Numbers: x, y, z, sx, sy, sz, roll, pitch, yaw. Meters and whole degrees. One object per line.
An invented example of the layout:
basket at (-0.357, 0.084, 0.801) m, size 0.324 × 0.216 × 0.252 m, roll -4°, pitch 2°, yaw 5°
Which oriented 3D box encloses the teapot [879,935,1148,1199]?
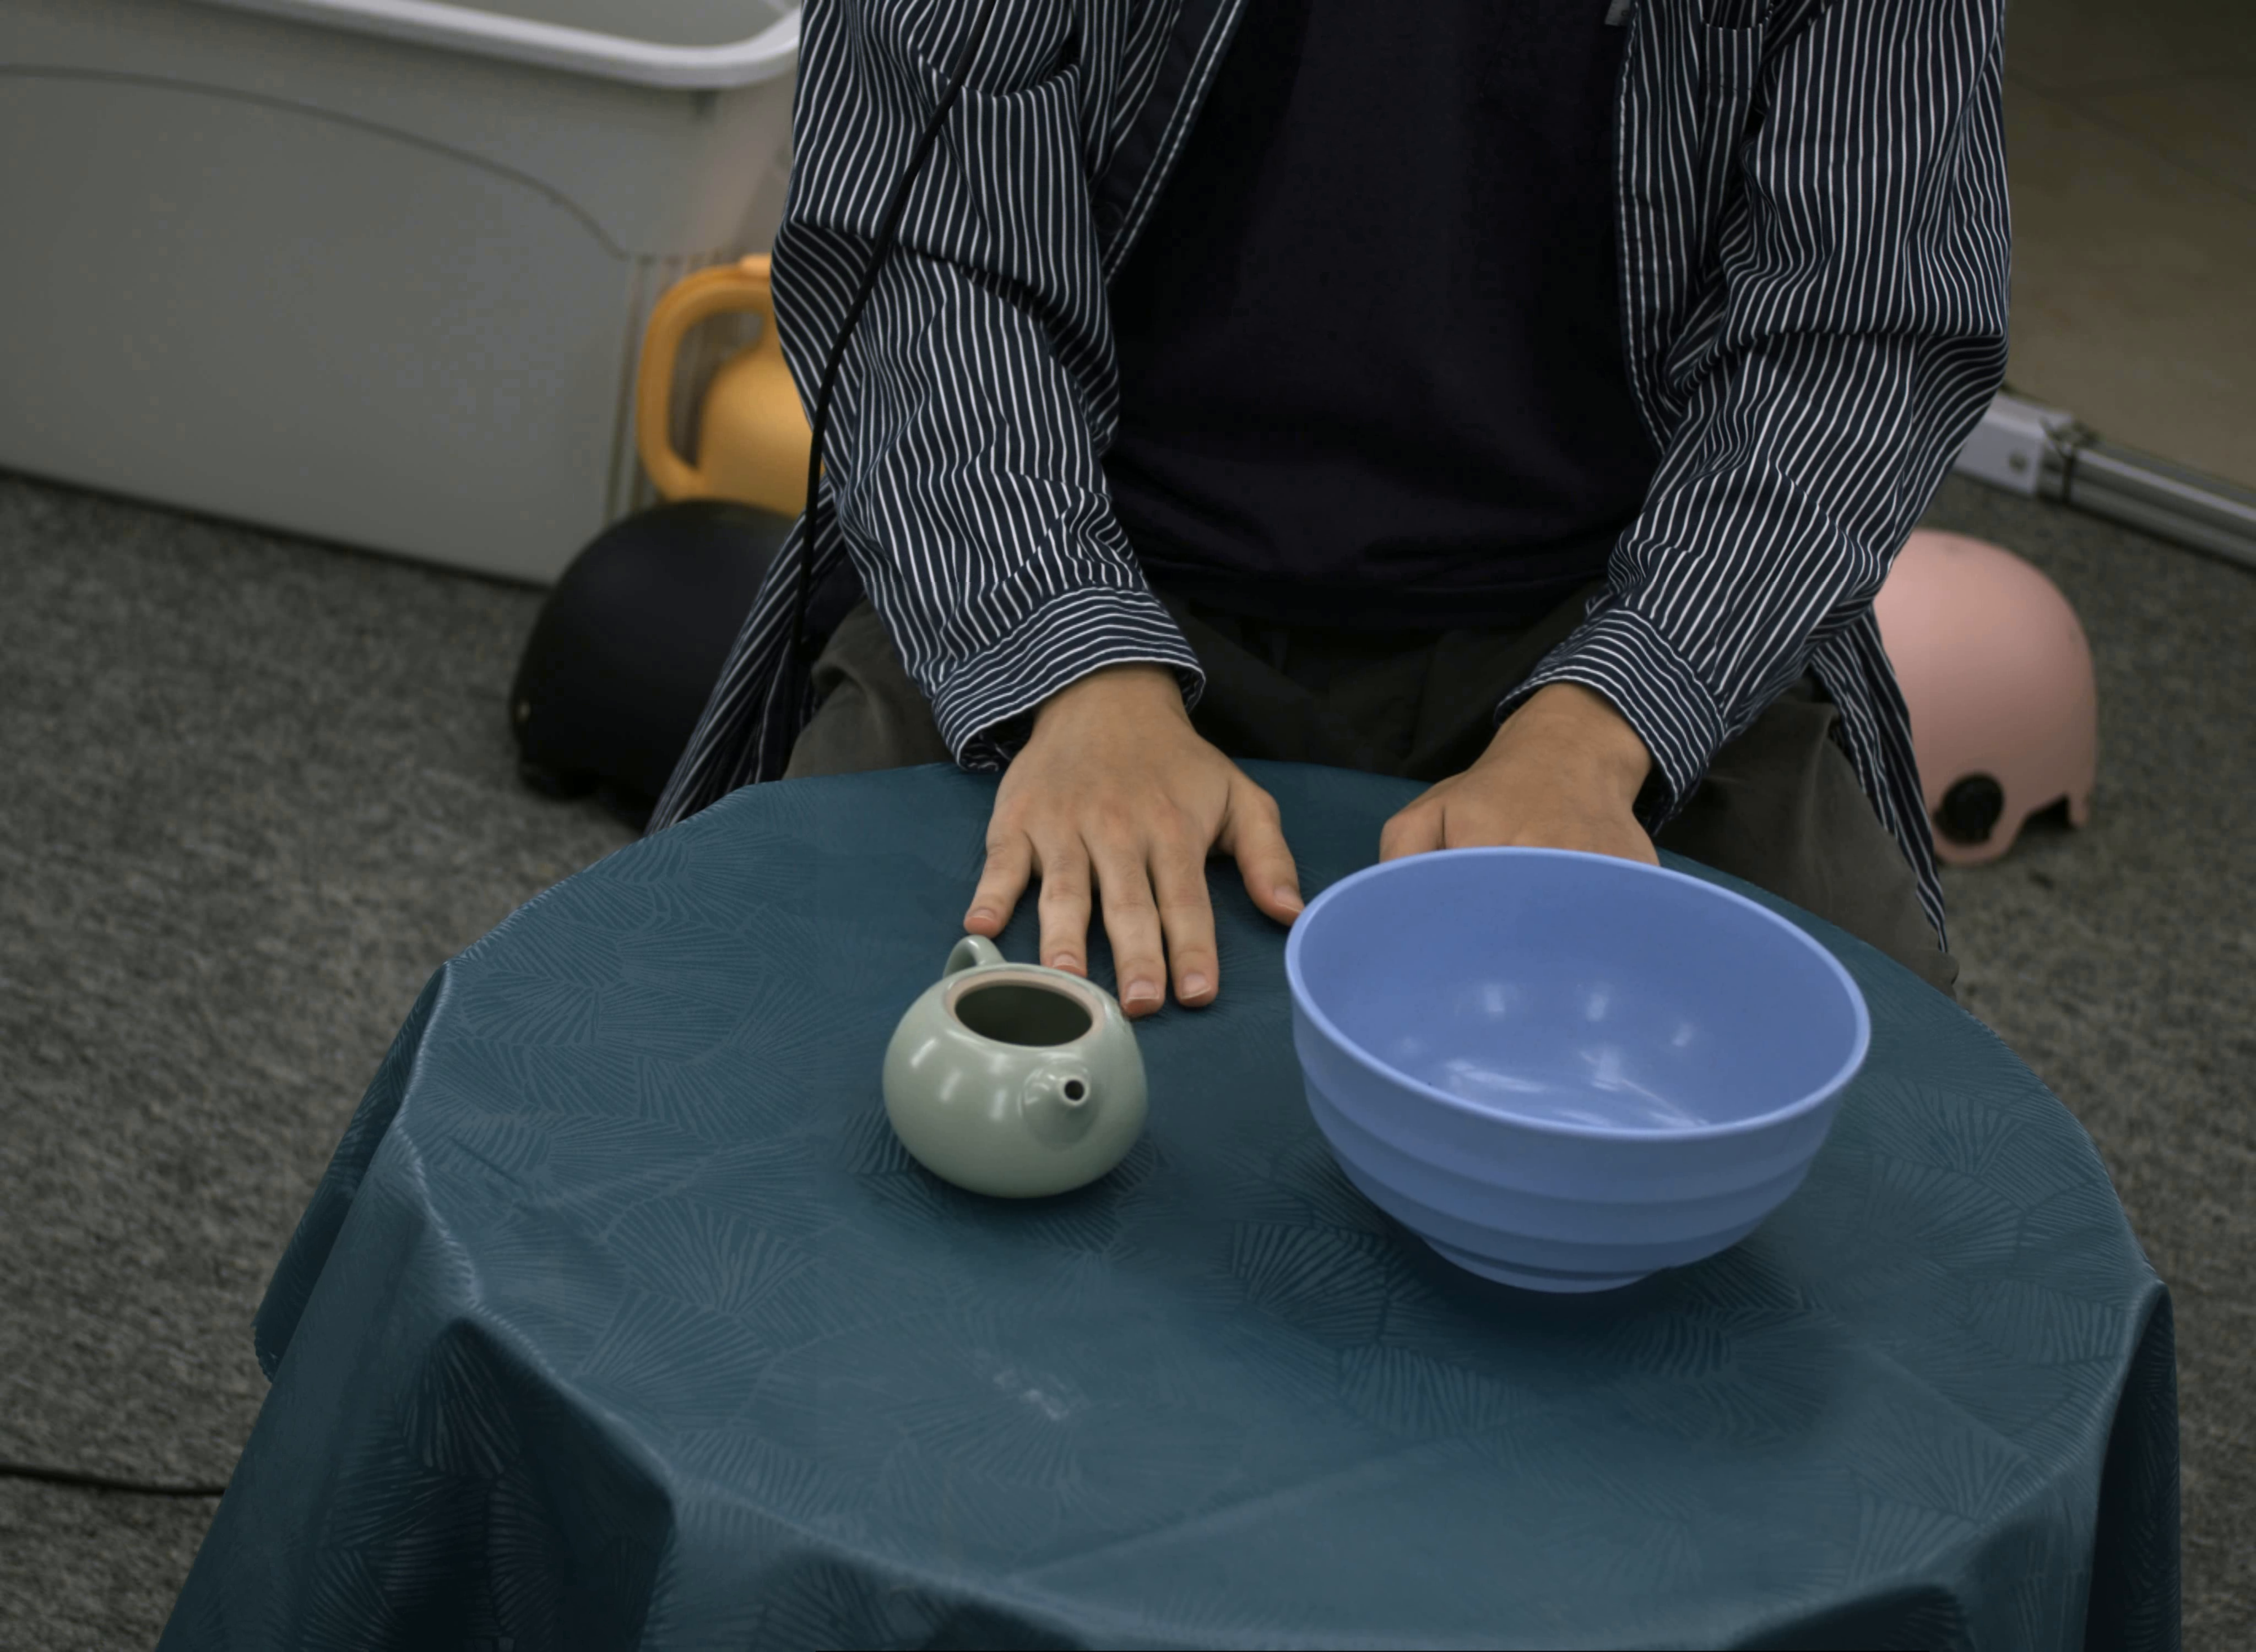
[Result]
teapot at (-0.041, 0.082, 1.806) m, size 0.091 × 0.061 × 0.129 m, roll -3°, pitch 27°, yaw -15°

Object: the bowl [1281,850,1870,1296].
bowl at (0.144, 0.094, 1.787) m, size 0.196 × 0.095 × 0.197 m, roll 4°, pitch 27°, yaw -3°
